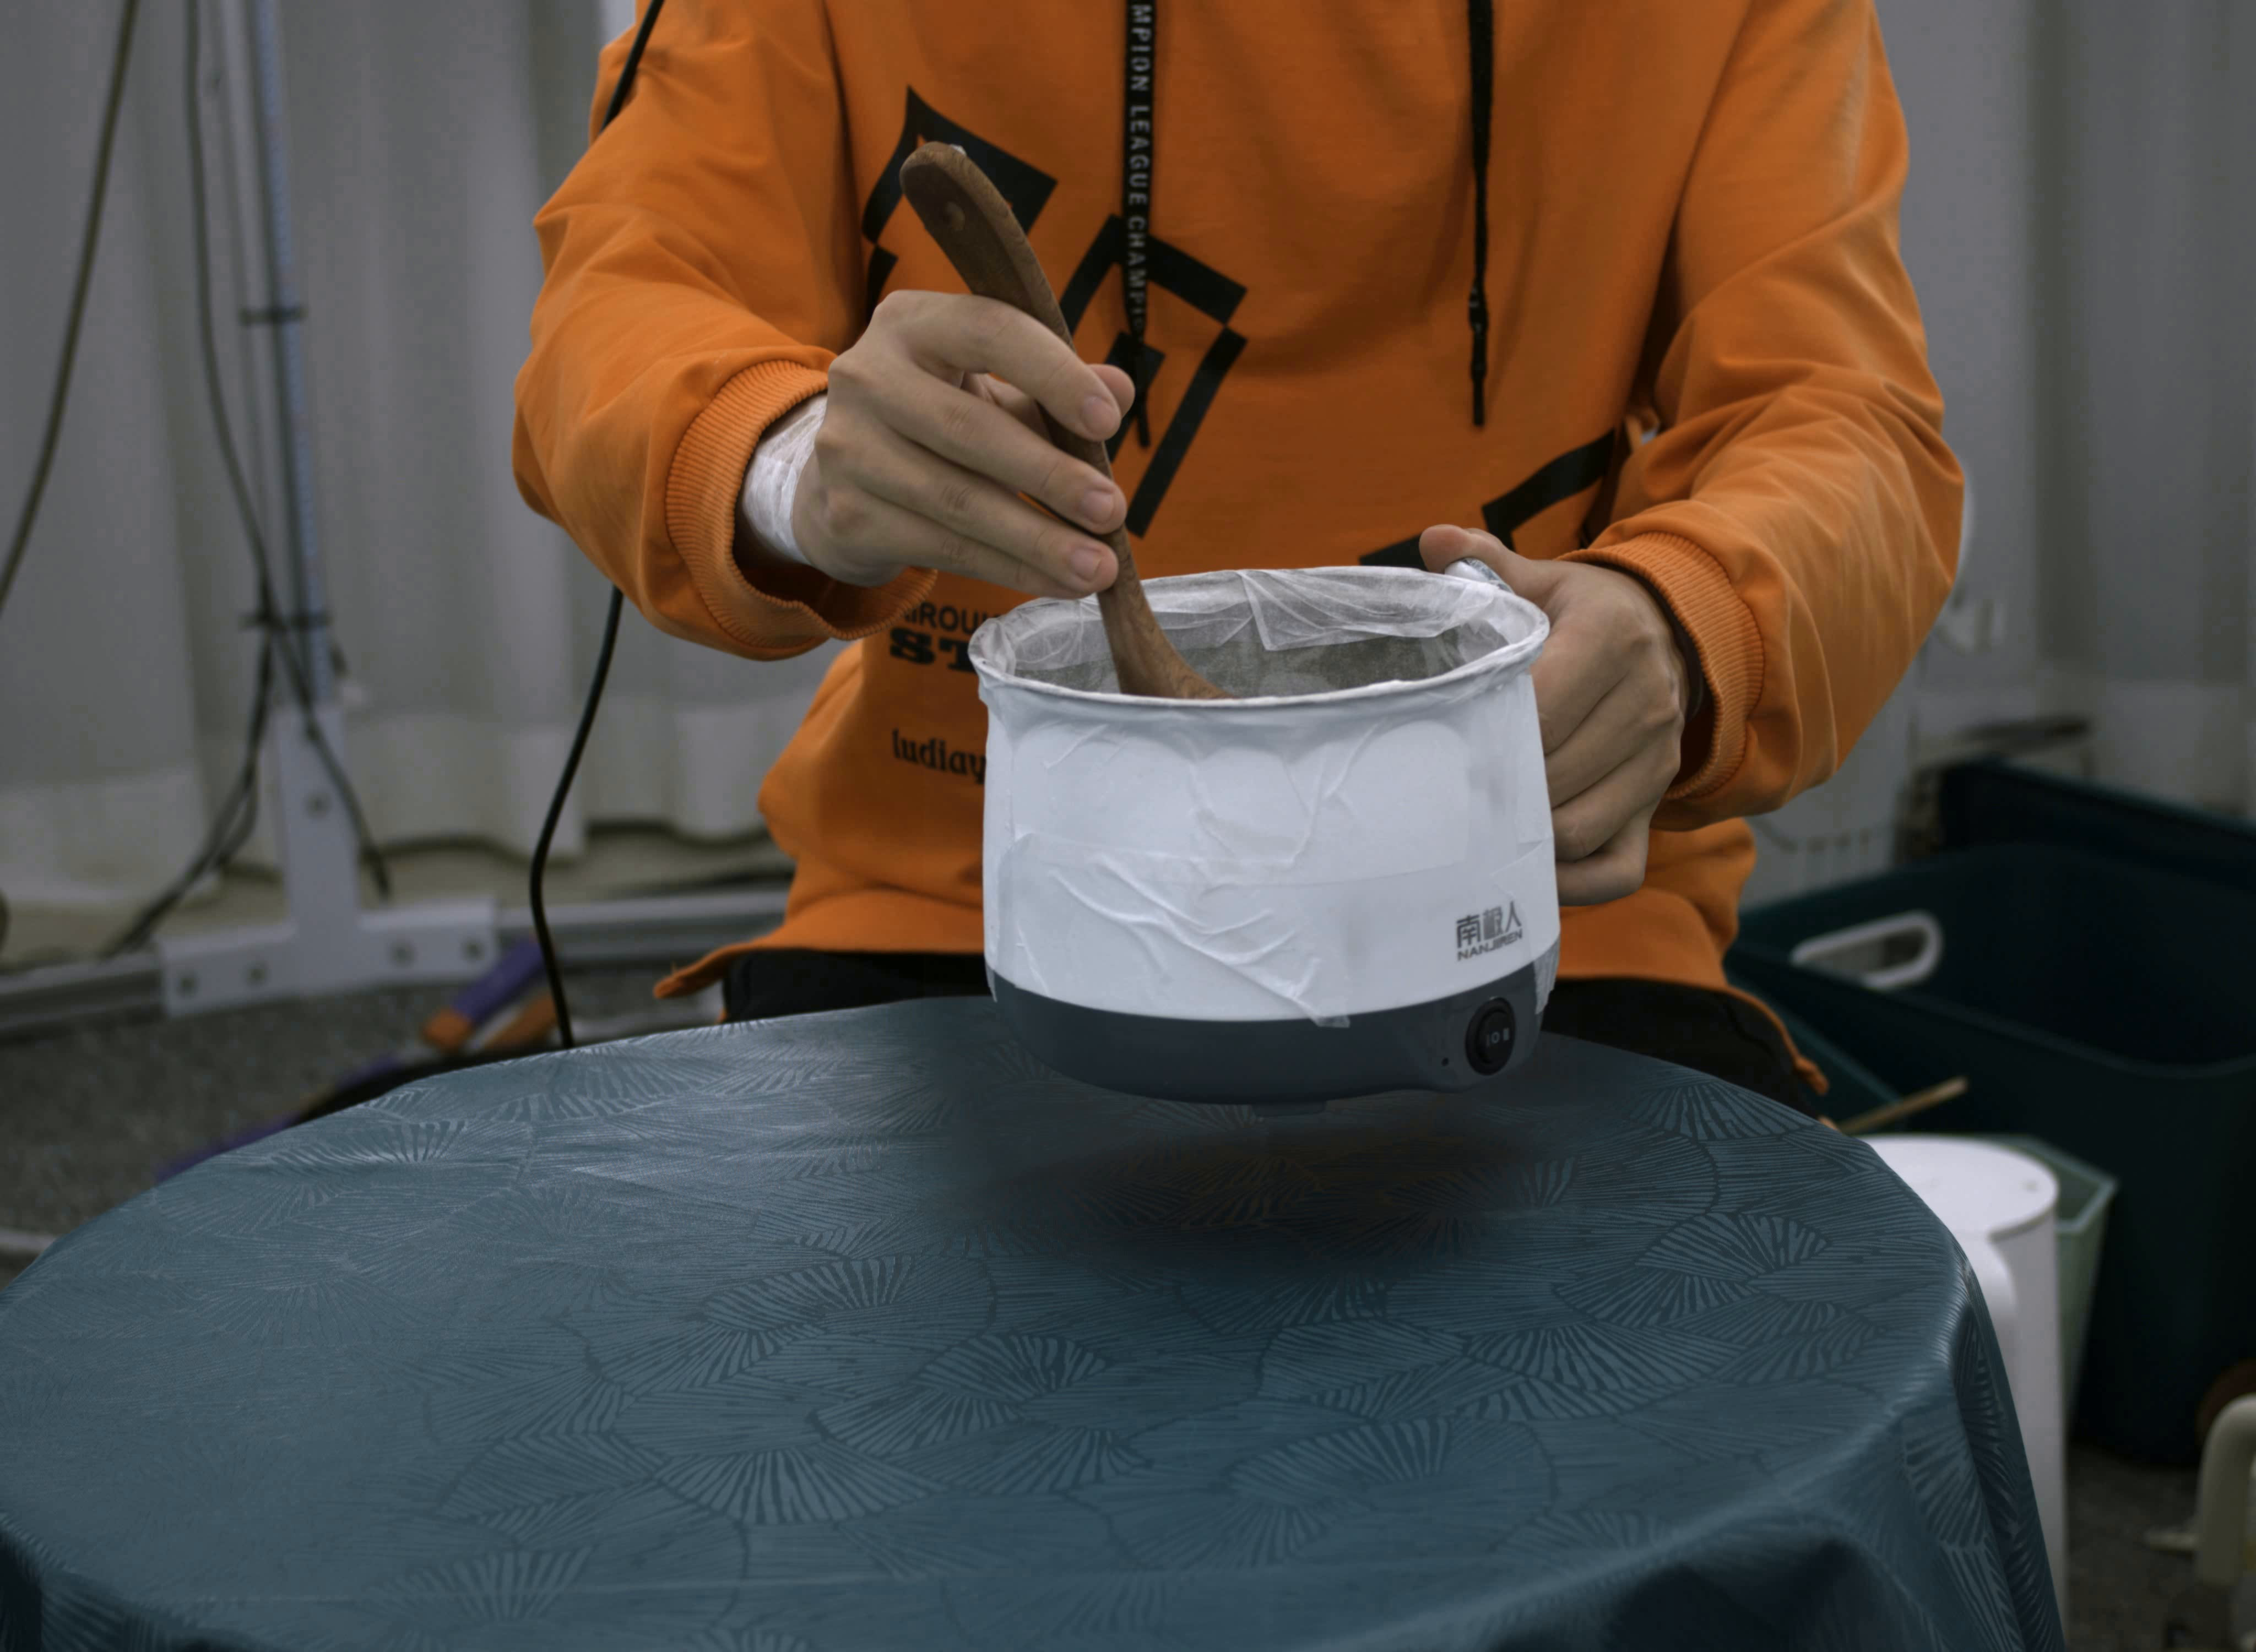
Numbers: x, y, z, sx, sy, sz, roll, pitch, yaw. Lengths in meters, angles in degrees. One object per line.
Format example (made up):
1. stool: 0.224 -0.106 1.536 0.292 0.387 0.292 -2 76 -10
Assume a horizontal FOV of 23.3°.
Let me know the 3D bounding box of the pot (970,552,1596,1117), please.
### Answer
1. pot: 0.061 -0.004 1.691 0.179 0.136 0.233 10 20 40

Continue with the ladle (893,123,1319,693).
1. ladle: 0.005 -0.100 1.672 0.076 0.261 0.065 -31 -9 40
